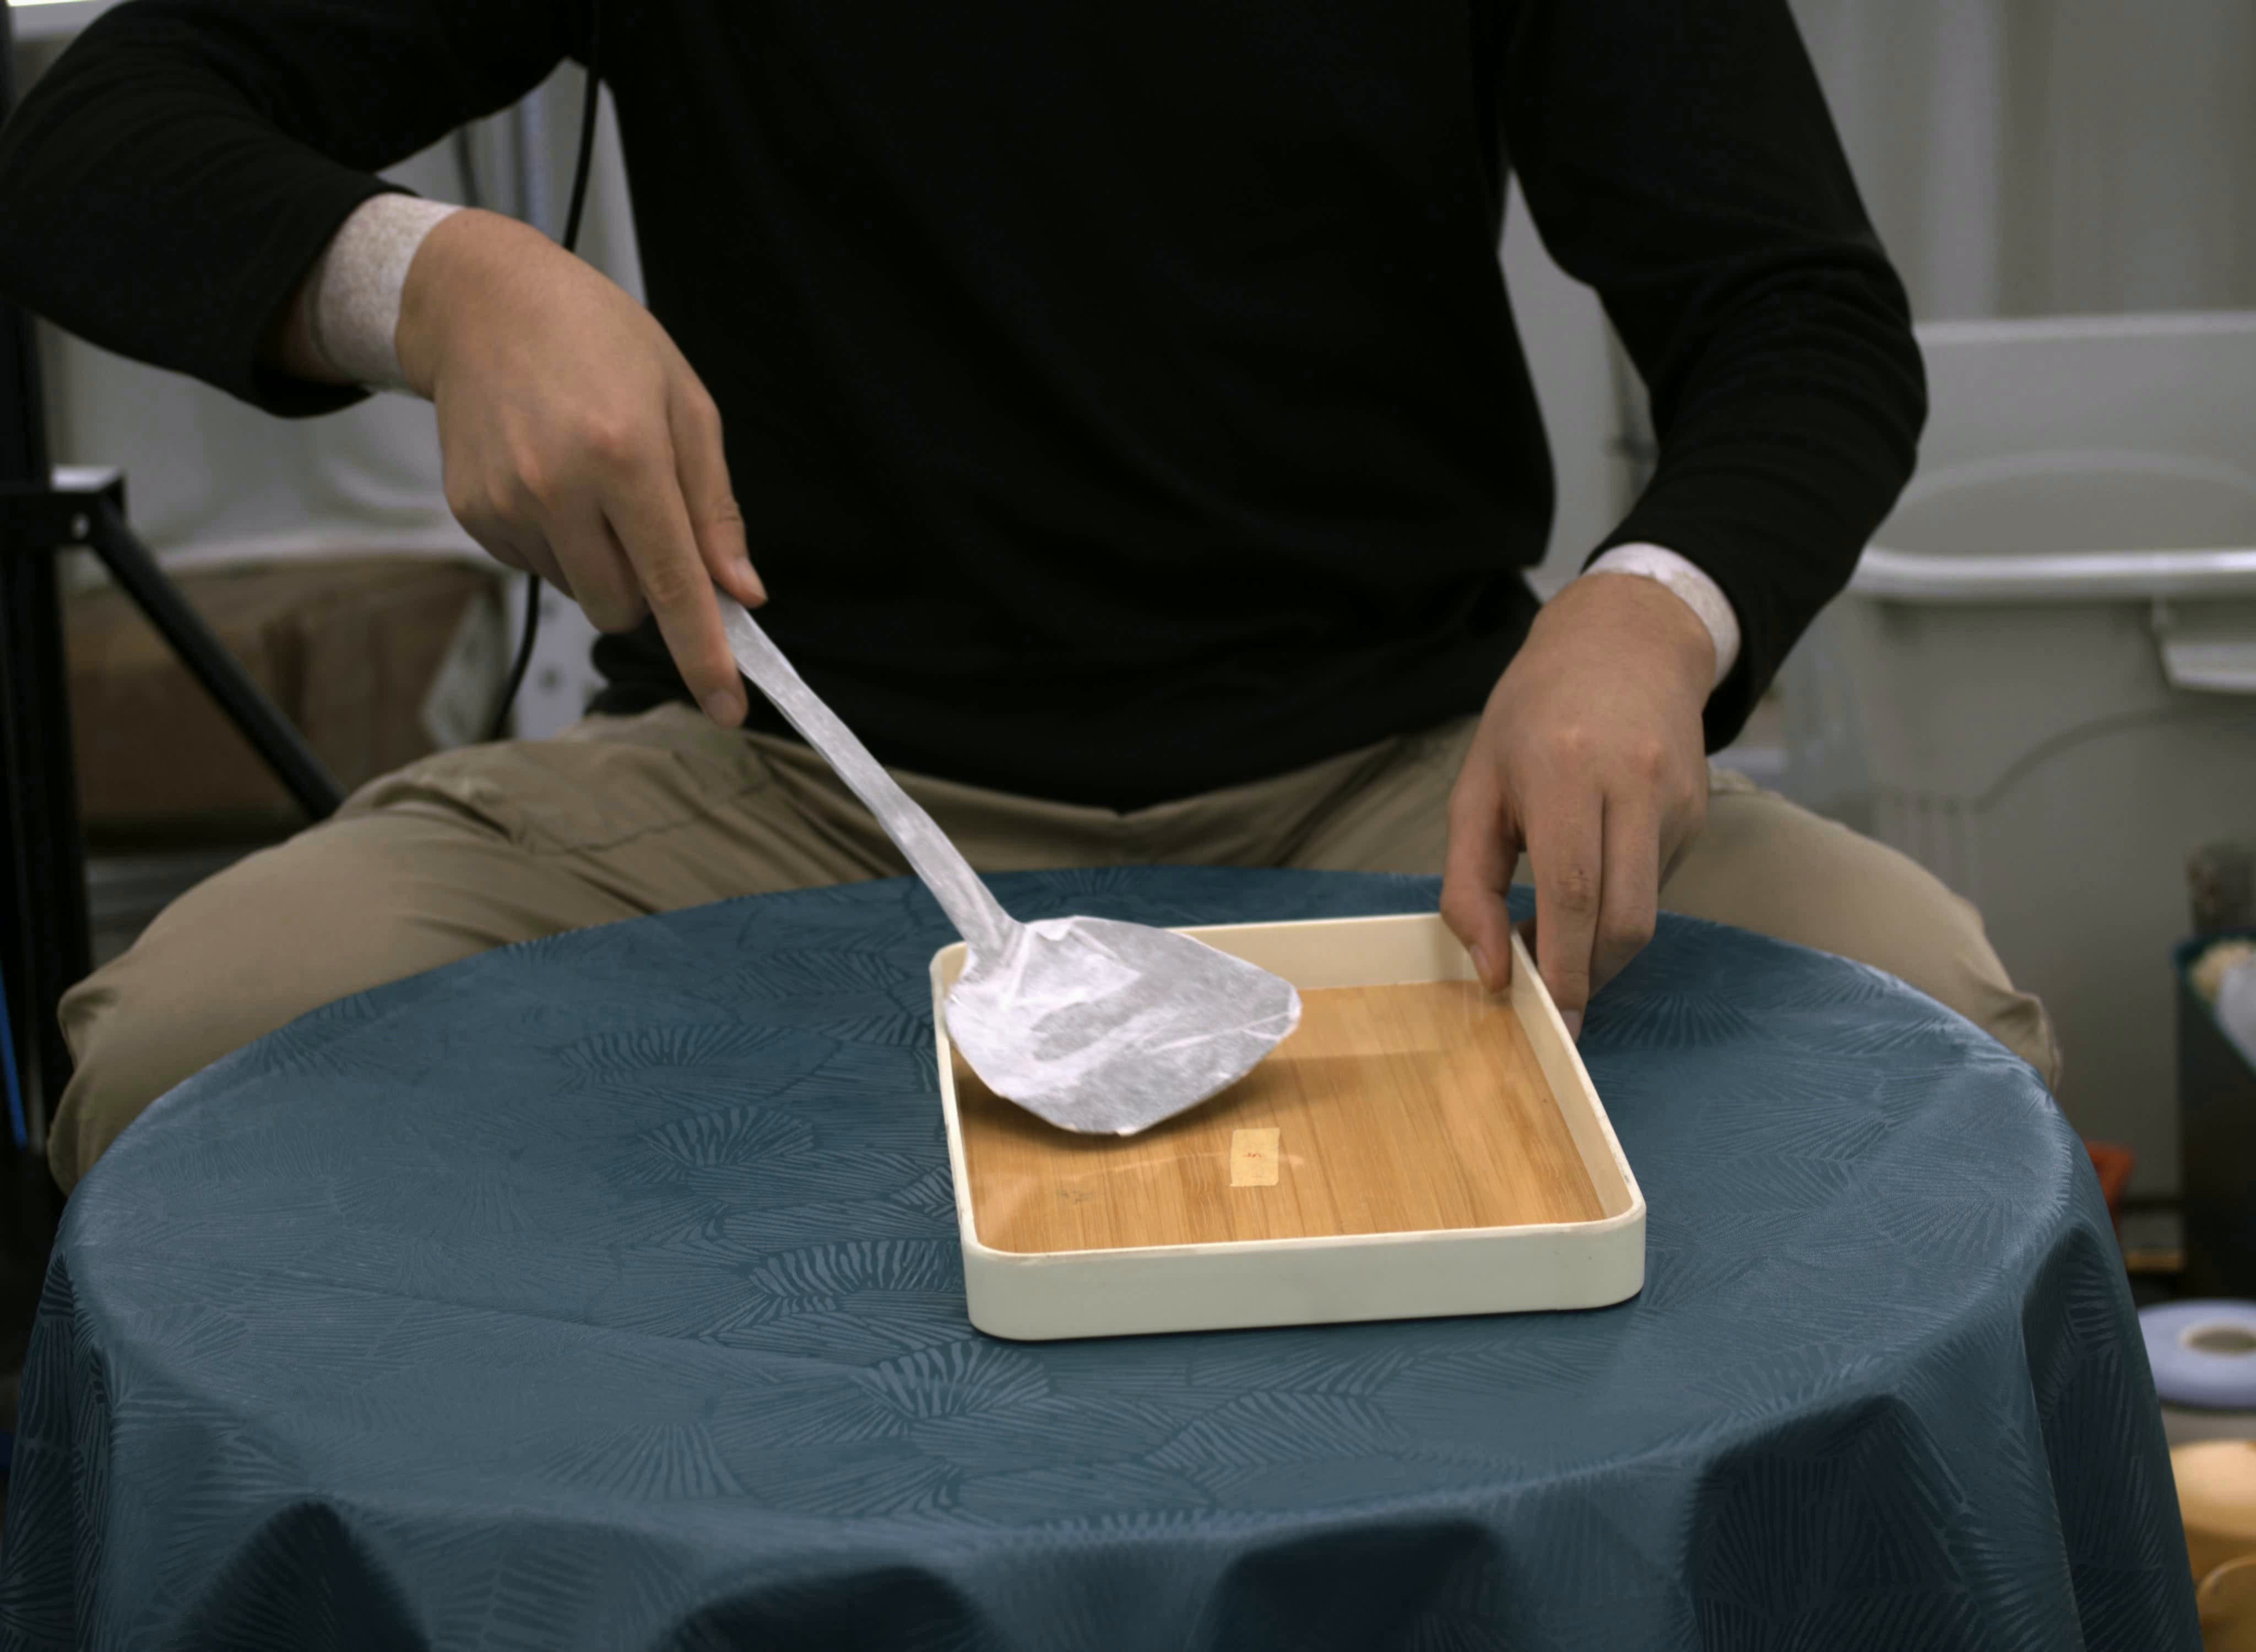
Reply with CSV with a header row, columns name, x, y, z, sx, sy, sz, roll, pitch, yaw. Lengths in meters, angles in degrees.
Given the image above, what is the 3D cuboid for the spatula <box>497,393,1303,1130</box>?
name,x,y,z,sx,sy,sz,roll,pitch,yaw
spatula,-0.092,-0.031,1.681,0.097,0.045,0.371,-29,62,-30

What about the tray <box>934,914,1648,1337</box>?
name,x,y,z,sx,sy,sz,roll,pitch,yaw
tray,0.041,0.085,1.582,0.190,0.027,0.302,-3,16,-2
